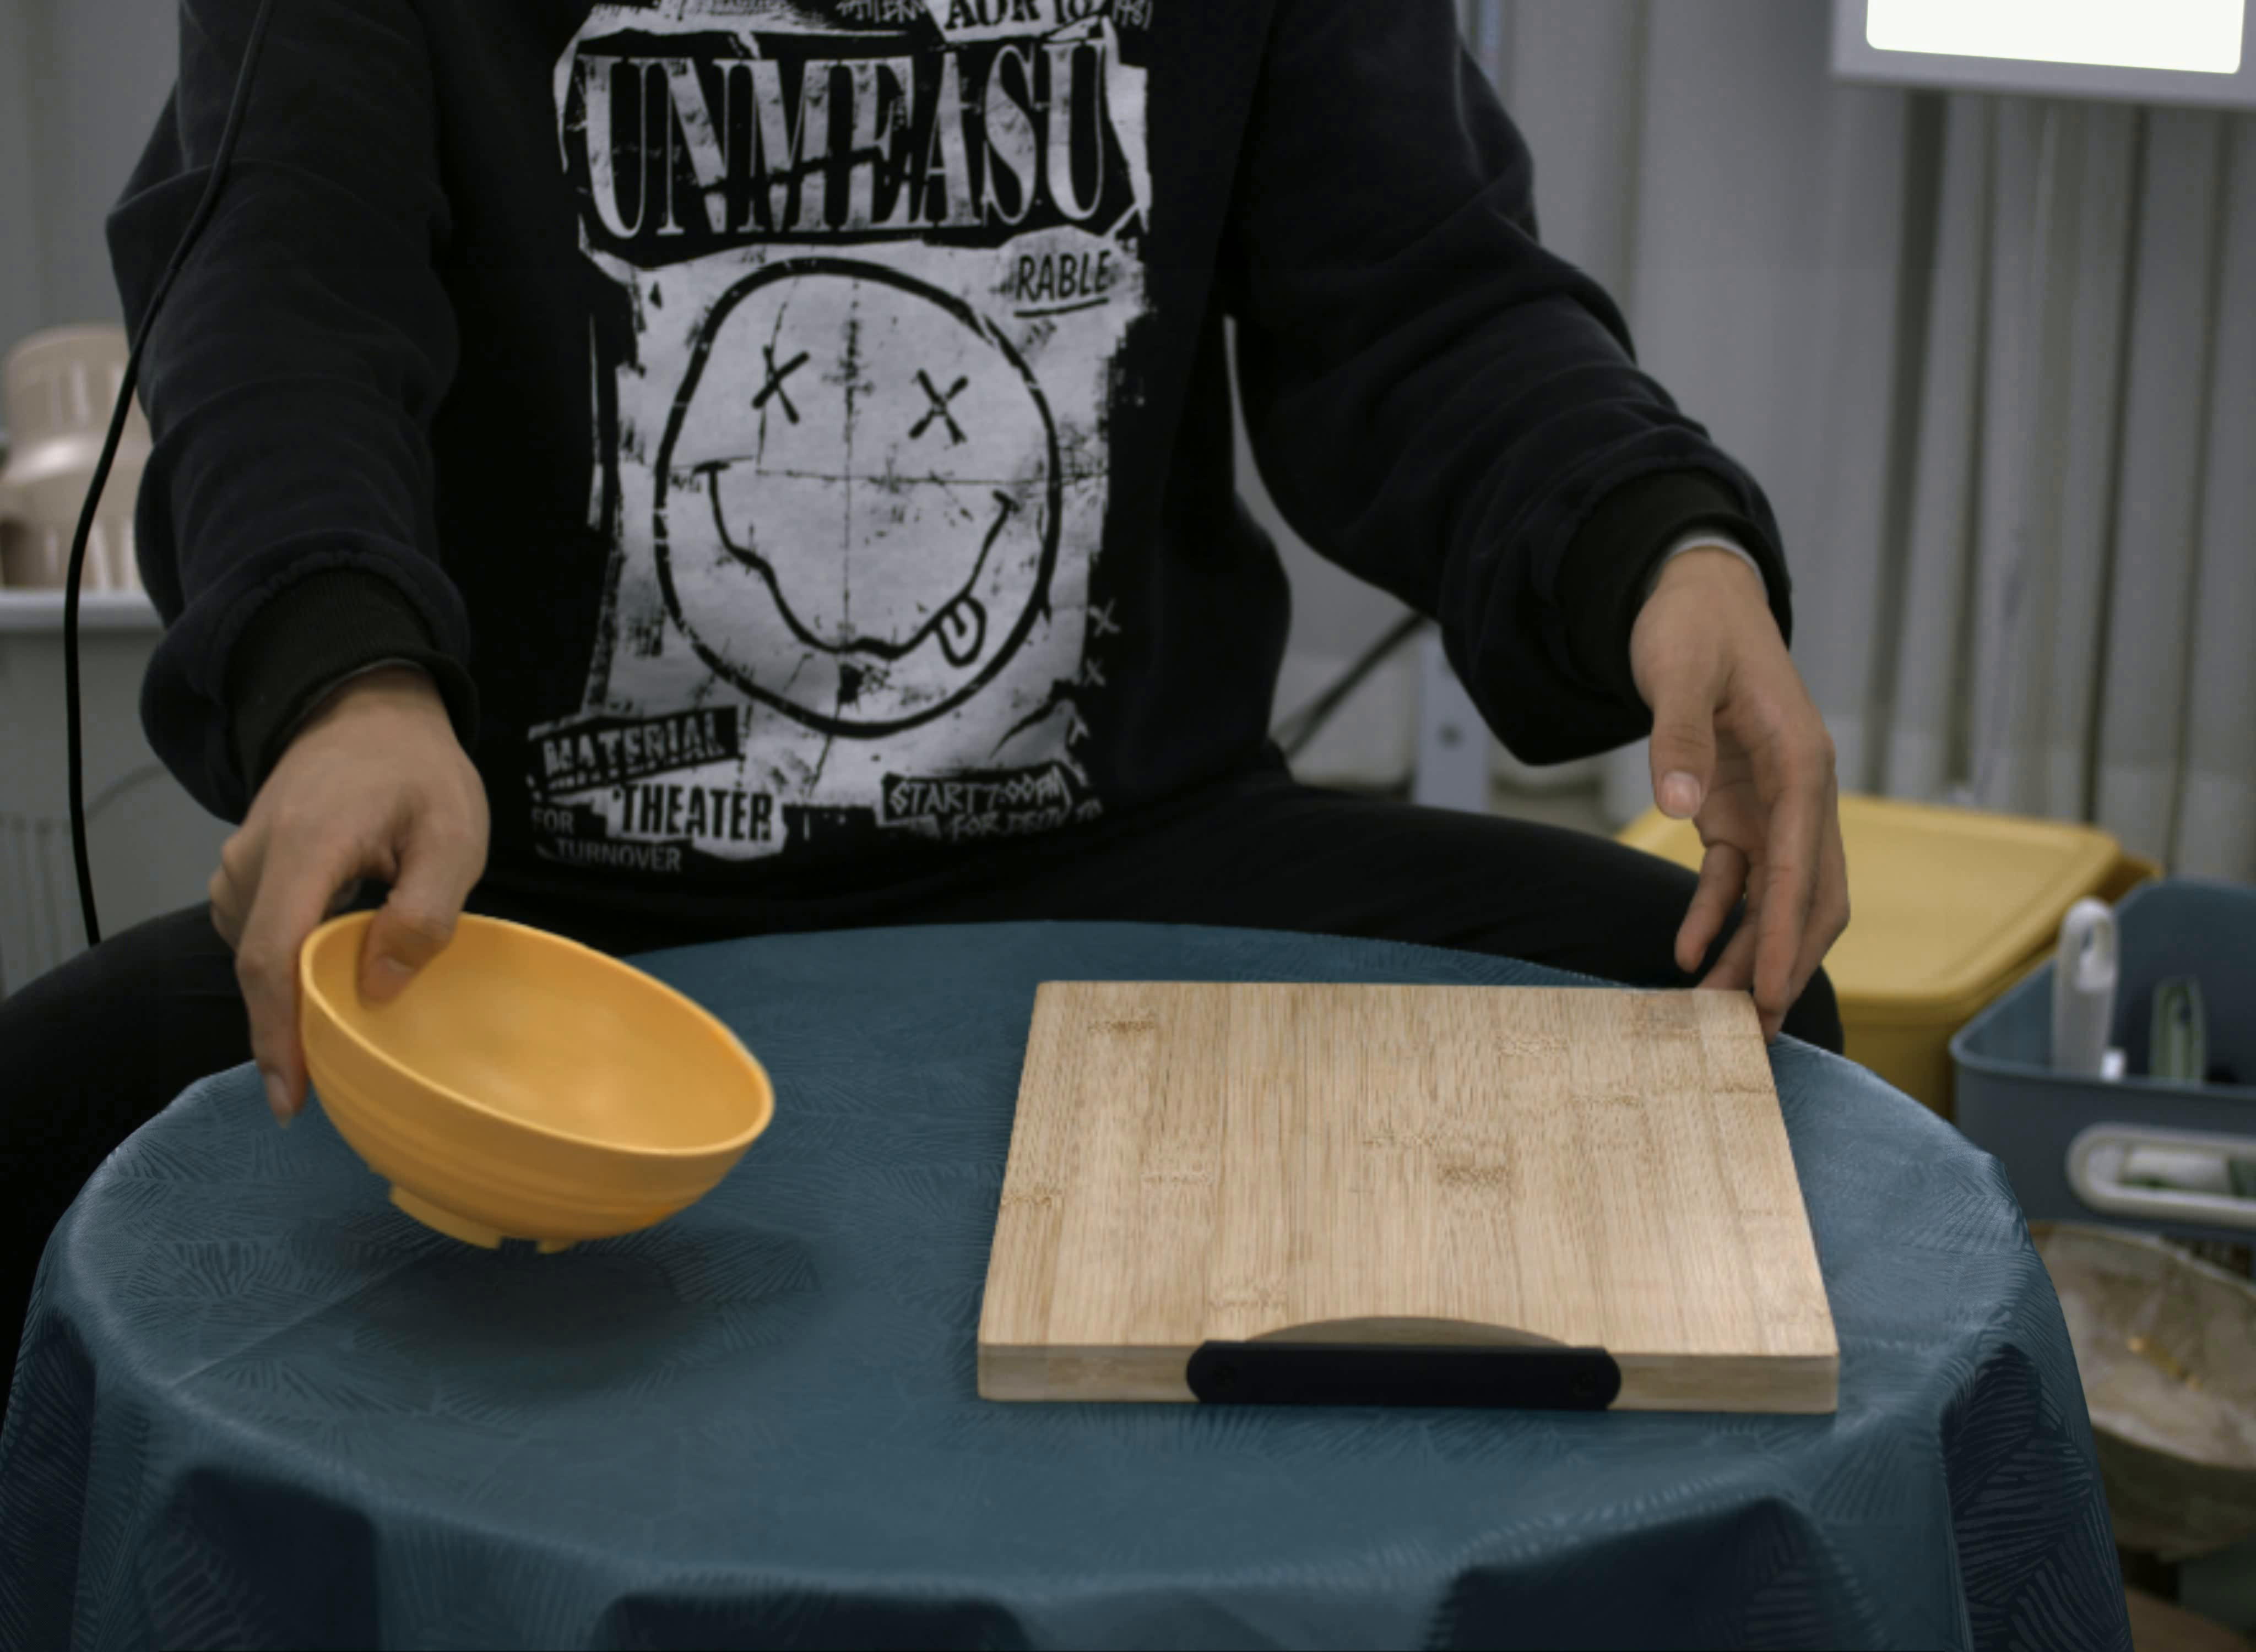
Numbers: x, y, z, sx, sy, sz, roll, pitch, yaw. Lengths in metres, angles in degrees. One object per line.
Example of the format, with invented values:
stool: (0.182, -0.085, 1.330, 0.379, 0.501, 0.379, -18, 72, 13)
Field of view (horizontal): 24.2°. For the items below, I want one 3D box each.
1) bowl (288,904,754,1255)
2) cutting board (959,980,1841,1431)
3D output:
bowl: (-0.186, 0.084, 1.537, 0.145, 0.060, 0.144, 24, 16, -7)
cutting board: (0.082, 0.110, 1.610, 0.250, 0.024, 0.347, 1, 16, 1)
